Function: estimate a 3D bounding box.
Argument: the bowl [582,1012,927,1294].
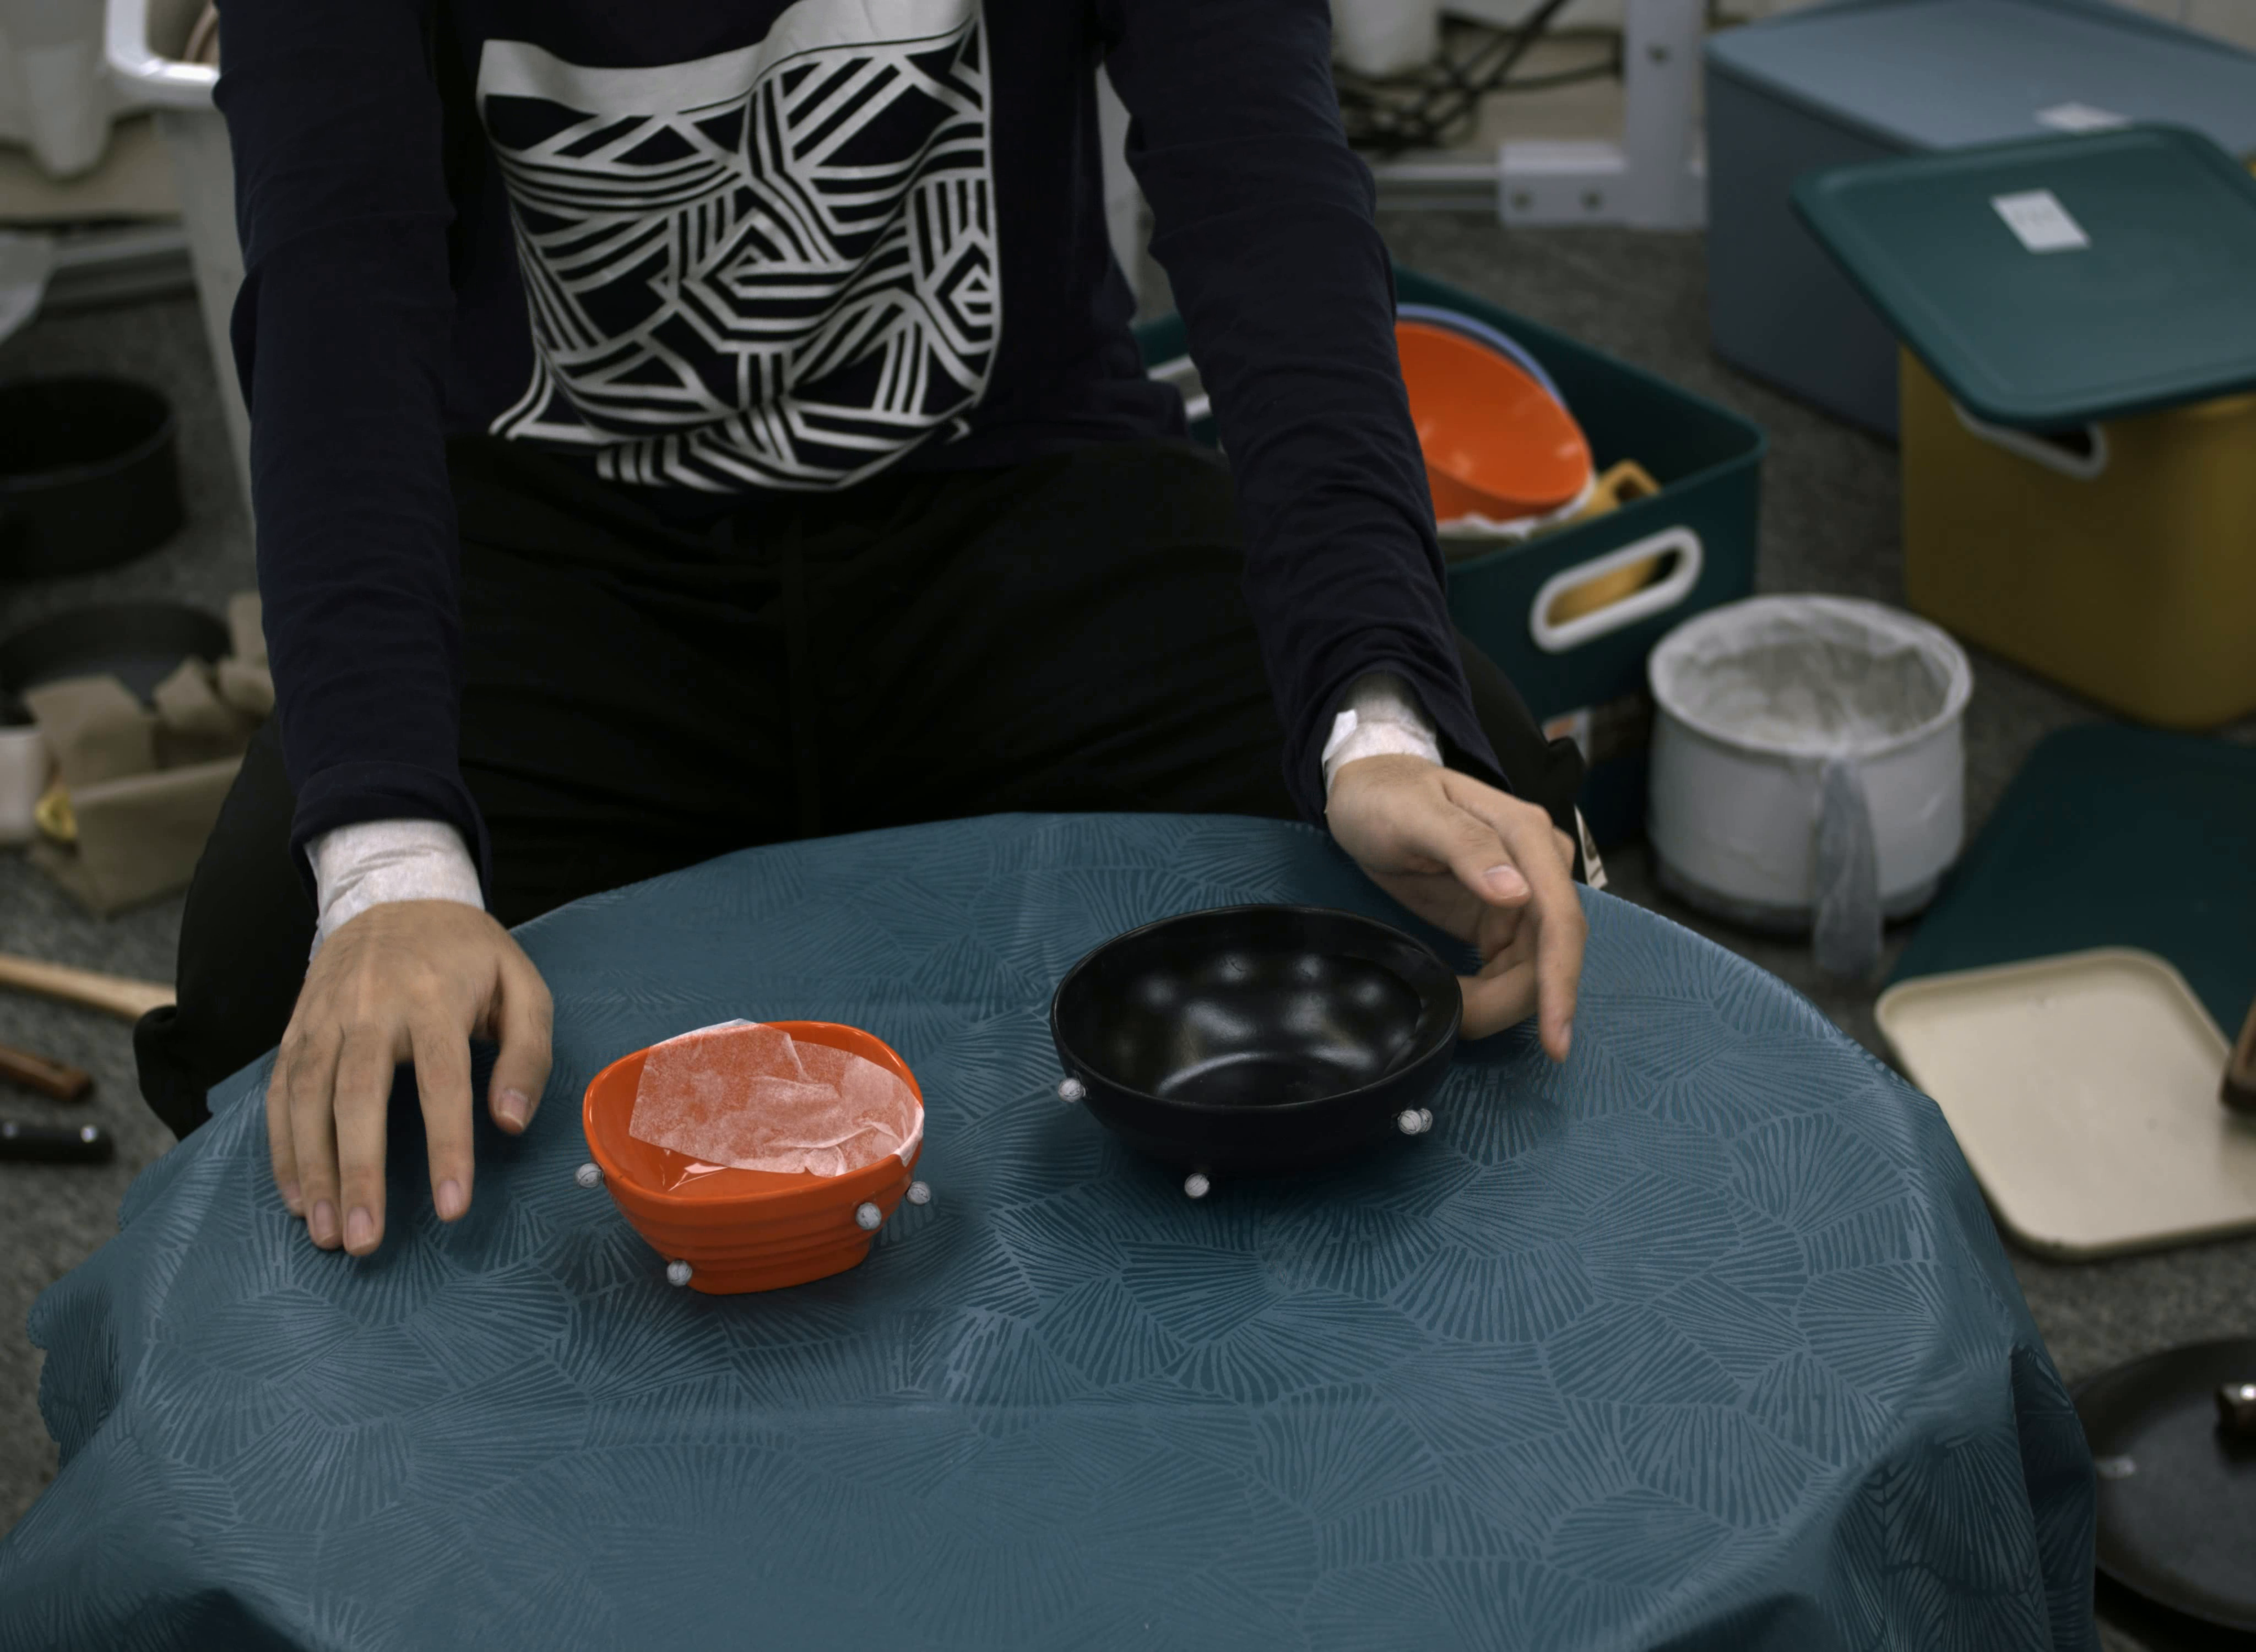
[{"bbox_3d":[-0.120,0.112,1.835,0.118,0.051,0.121,-2,29,2],"label":"bowl"}]

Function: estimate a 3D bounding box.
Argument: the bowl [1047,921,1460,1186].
[{"bbox_3d":[0.043,0.083,1.886,0.139,0.049,0.142,-3,23,2],"label":"bowl"}]
